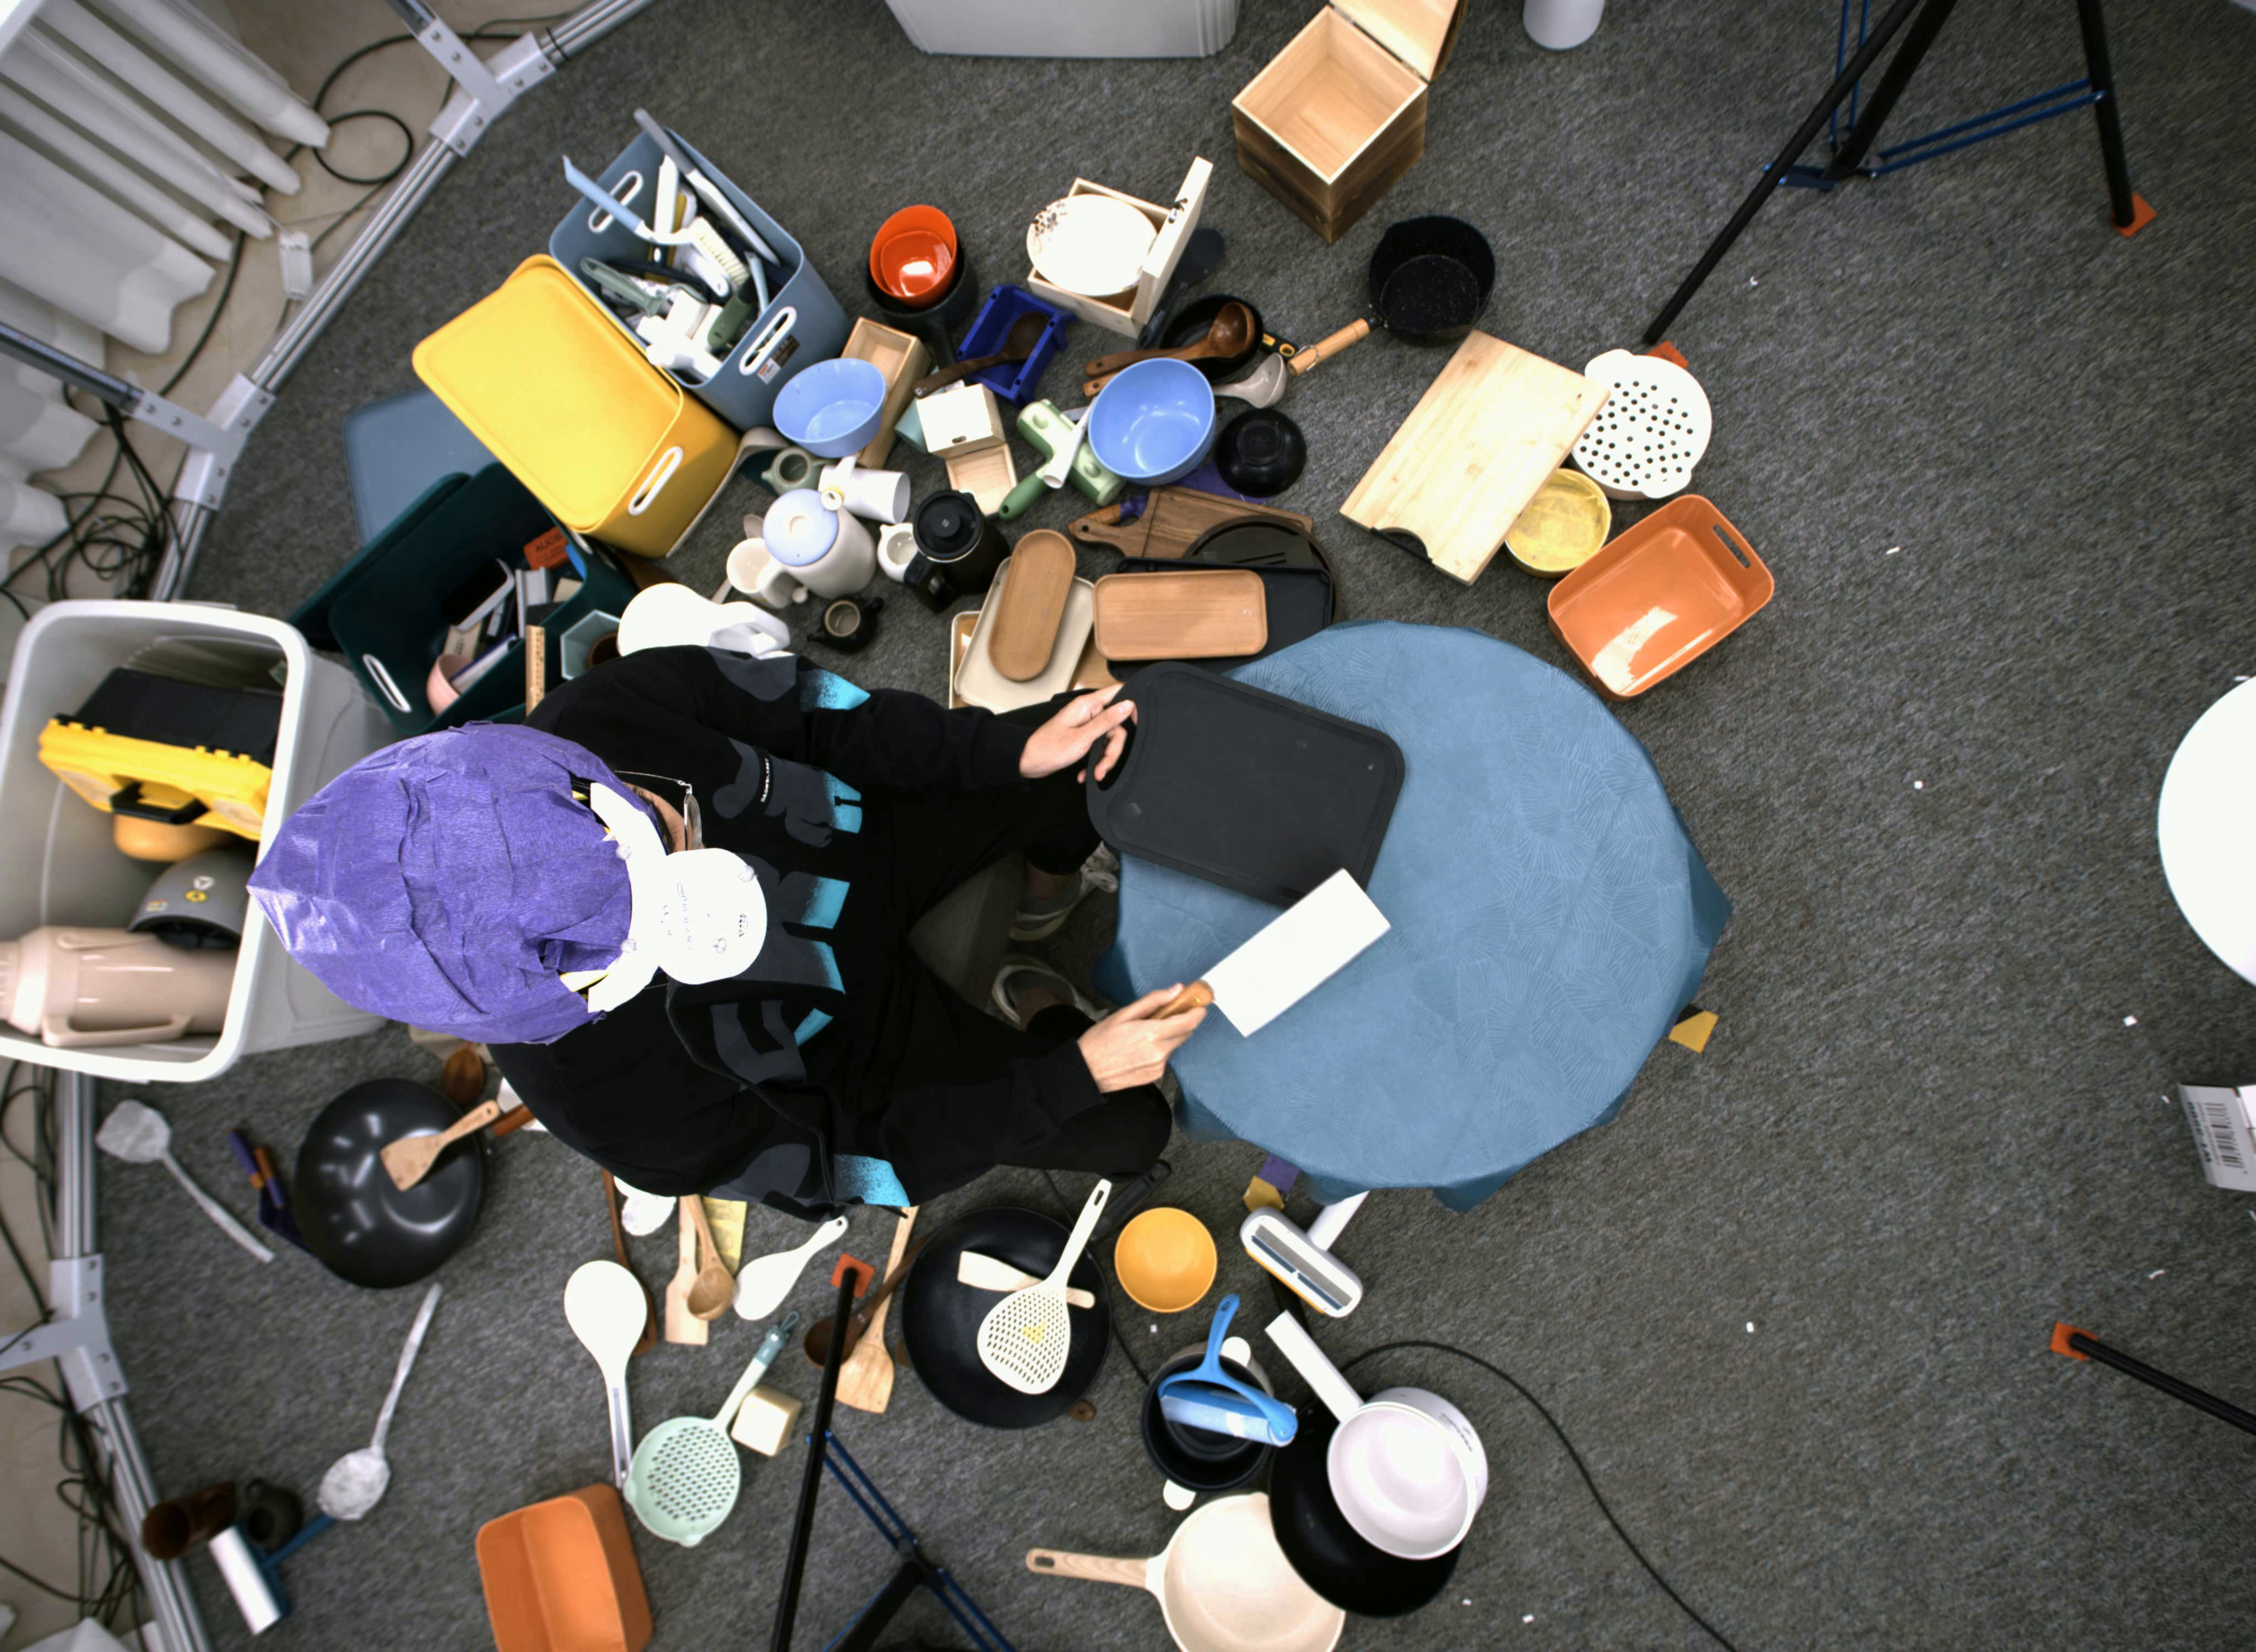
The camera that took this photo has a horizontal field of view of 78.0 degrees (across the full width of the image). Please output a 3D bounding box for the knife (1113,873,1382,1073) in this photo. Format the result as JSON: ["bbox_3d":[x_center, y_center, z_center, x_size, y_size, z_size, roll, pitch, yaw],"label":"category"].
[{"bbox_3d":[0.126,0.167,1.417,0.308,0.020,0.094,-38,114,9],"label":"knife"}]

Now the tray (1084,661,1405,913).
[{"bbox_3d":[0.116,-0.040,1.451,0.326,0.010,0.212,19,96,-1],"label":"tray"}]
